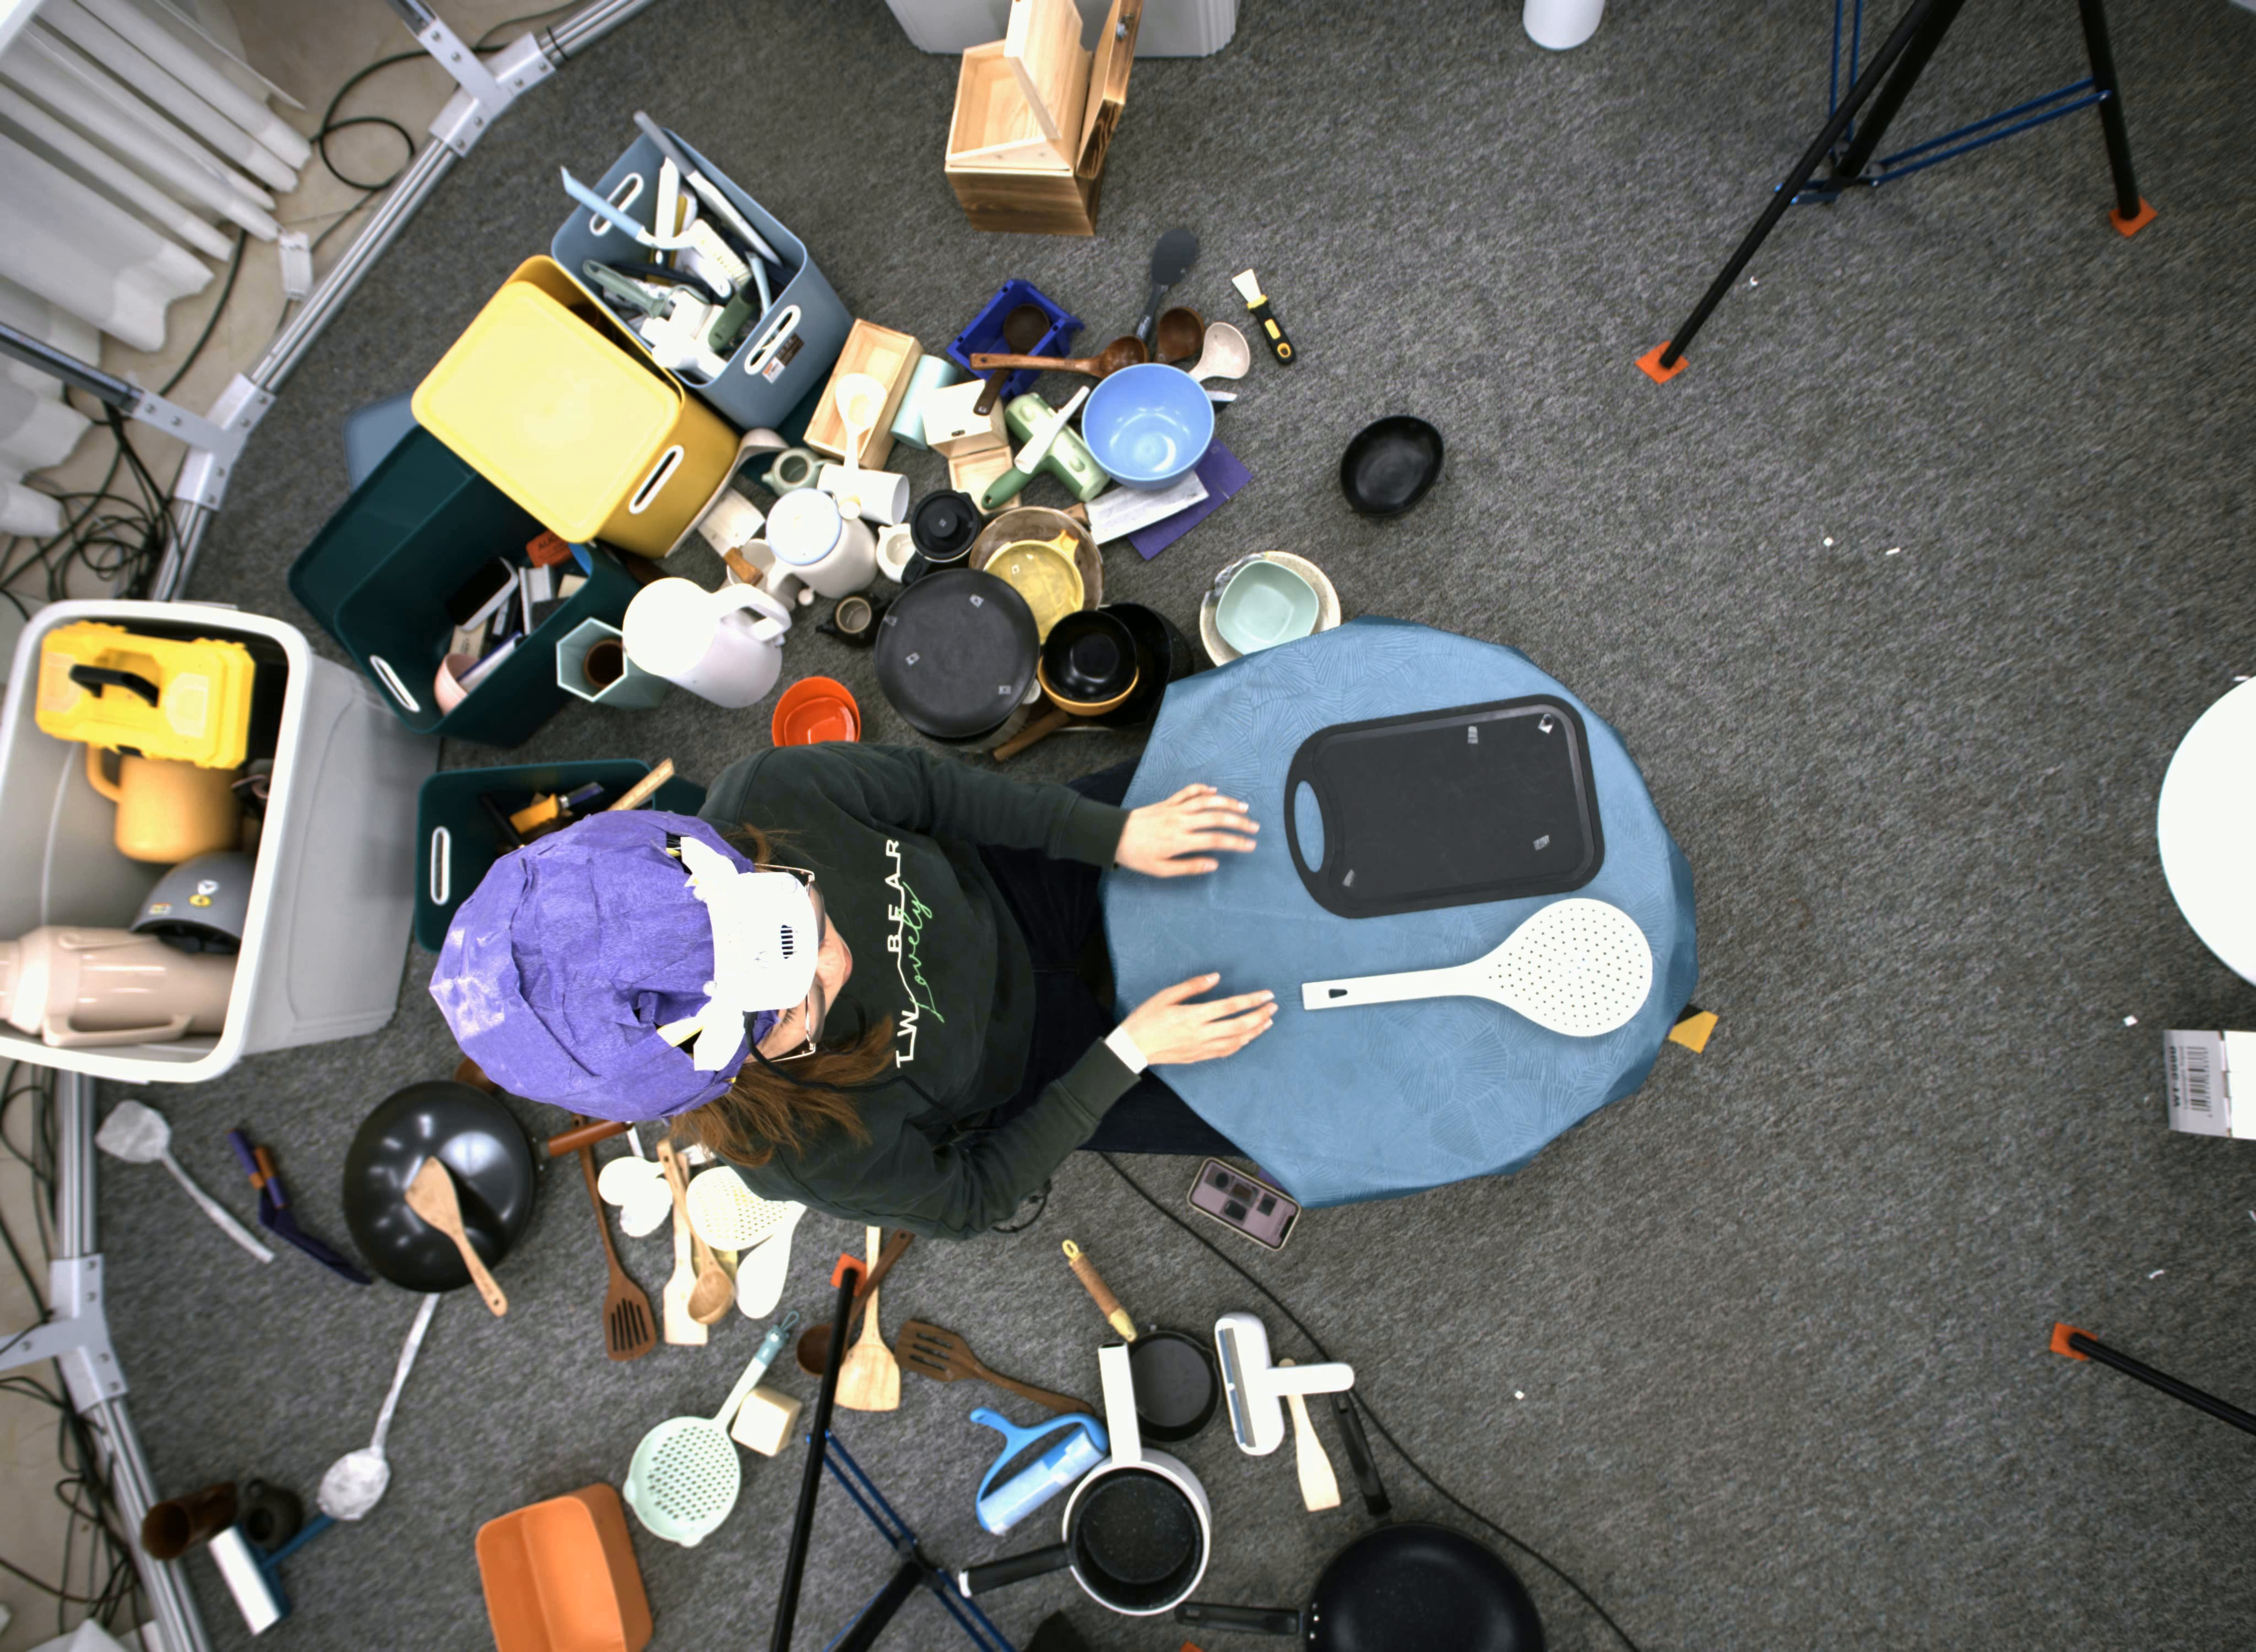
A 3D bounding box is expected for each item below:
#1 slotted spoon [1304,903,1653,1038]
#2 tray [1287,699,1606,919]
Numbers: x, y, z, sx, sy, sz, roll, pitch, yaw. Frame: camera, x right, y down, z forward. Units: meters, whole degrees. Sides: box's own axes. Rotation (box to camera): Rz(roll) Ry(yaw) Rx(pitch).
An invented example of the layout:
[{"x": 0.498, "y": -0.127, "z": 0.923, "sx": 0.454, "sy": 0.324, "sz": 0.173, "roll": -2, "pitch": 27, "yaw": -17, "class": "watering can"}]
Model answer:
[{"x": 0.356, "y": 0.158, "z": 1.420, "sx": 0.351, "sy": 0.046, "sz": 0.135, "roll": -7, "pitch": 82, "yaw": 11, "class": "slotted spoon"}, {"x": 0.331, "y": -0.018, "z": 1.456, "sx": 0.327, "sy": 0.010, "sz": 0.210, "roll": -8, "pitch": 84, "yaw": 10, "class": "tray"}]
